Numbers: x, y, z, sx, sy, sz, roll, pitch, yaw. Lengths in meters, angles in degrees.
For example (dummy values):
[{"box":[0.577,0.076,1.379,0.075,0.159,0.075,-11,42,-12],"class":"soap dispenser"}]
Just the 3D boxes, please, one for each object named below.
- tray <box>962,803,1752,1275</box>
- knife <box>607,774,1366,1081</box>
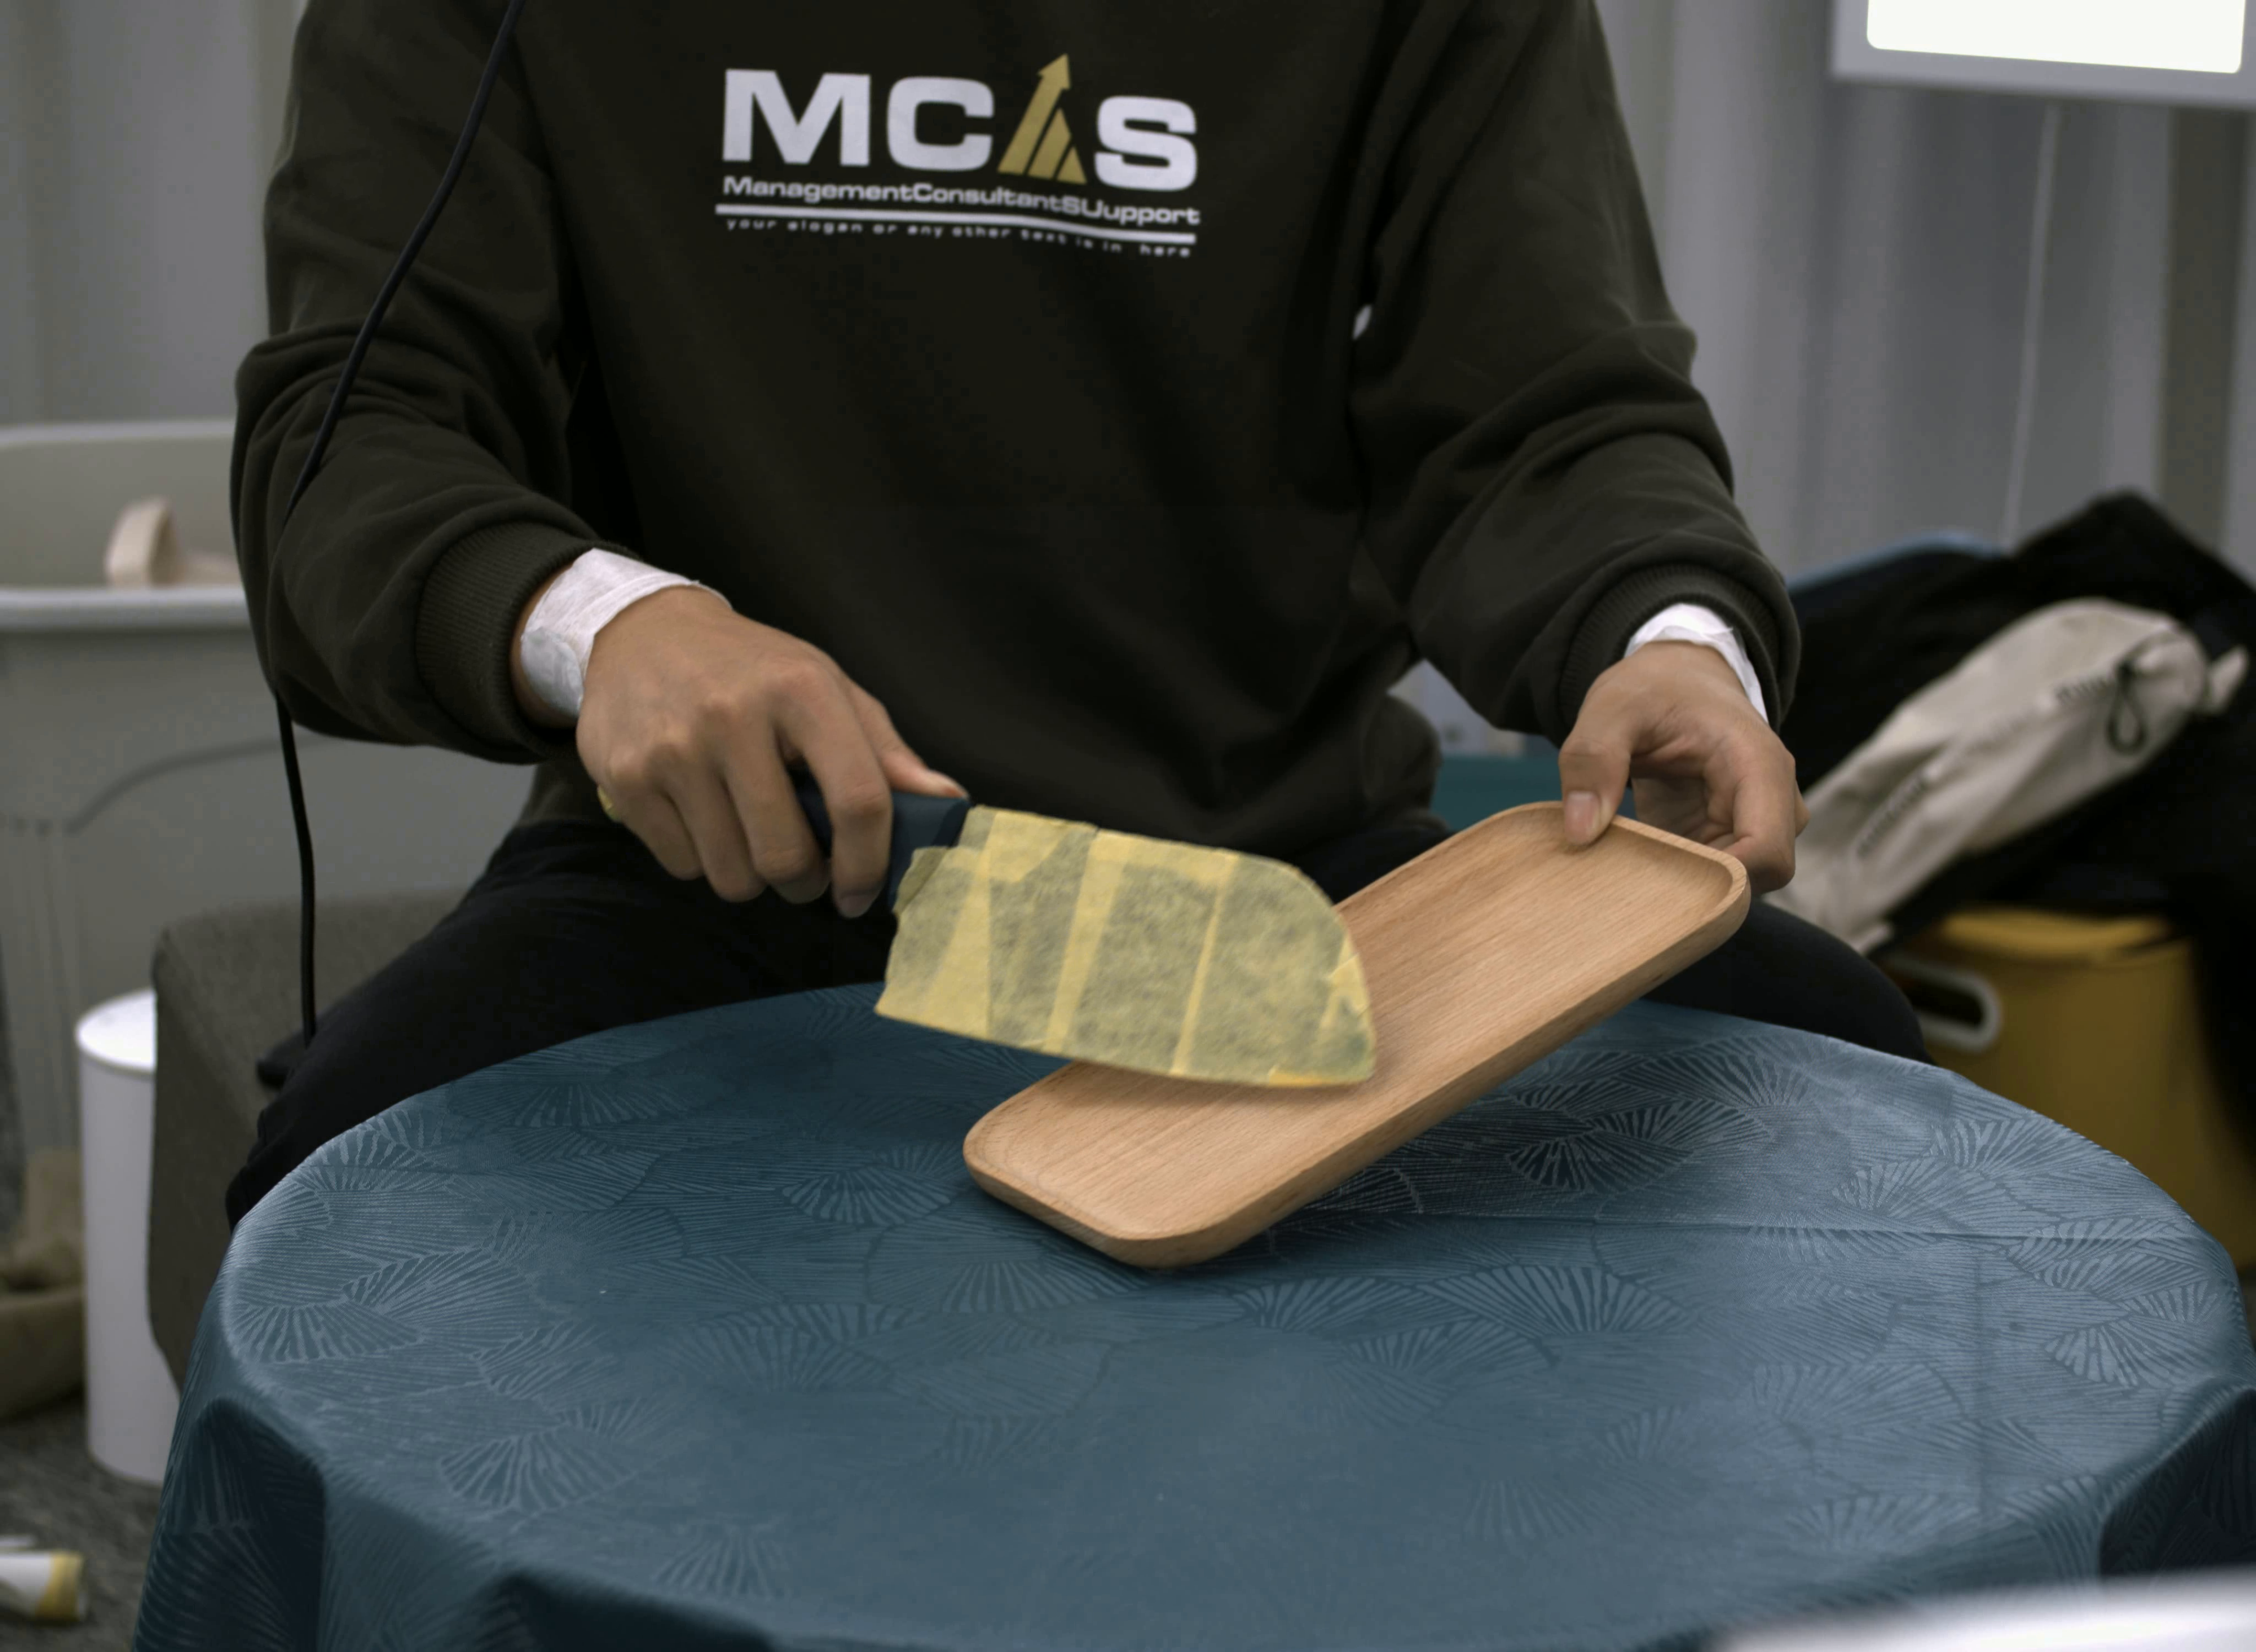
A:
[{"box":[0.073,0.064,1.634,0.251,0.023,0.129,-31,26,-25],"class":"tray"},{"box":[-0.050,0.030,1.662,0.286,0.081,0.027,13,-11,29],"class":"knife"}]
